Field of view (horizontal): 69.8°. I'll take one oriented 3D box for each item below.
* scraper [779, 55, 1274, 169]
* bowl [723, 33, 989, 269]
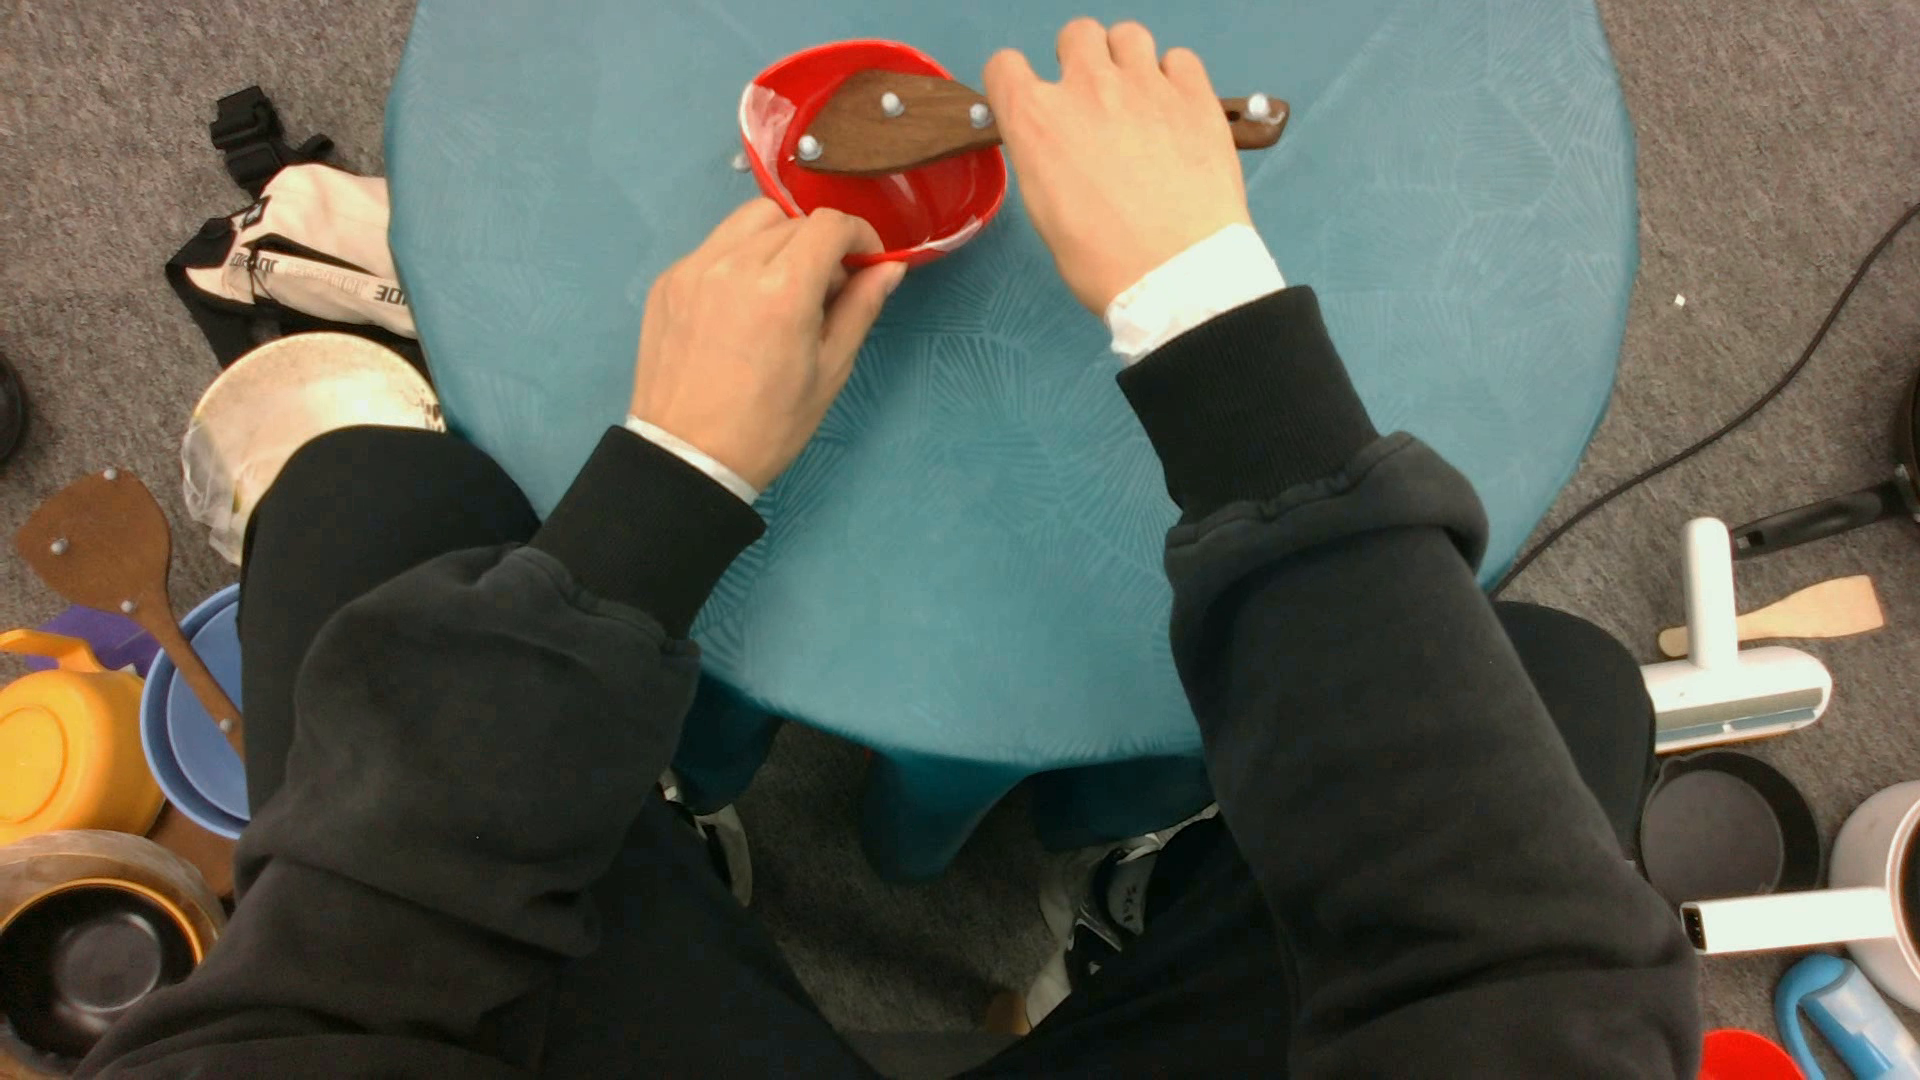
[{"bbox_3d":[0.024,-0.175,0.566,0.211,0.011,0.076,10,54,27],"label":"scraper"},{"bbox_3d":[-0.050,-0.165,0.617,0.119,0.051,0.119,8,64,-16],"label":"bowl"}]
